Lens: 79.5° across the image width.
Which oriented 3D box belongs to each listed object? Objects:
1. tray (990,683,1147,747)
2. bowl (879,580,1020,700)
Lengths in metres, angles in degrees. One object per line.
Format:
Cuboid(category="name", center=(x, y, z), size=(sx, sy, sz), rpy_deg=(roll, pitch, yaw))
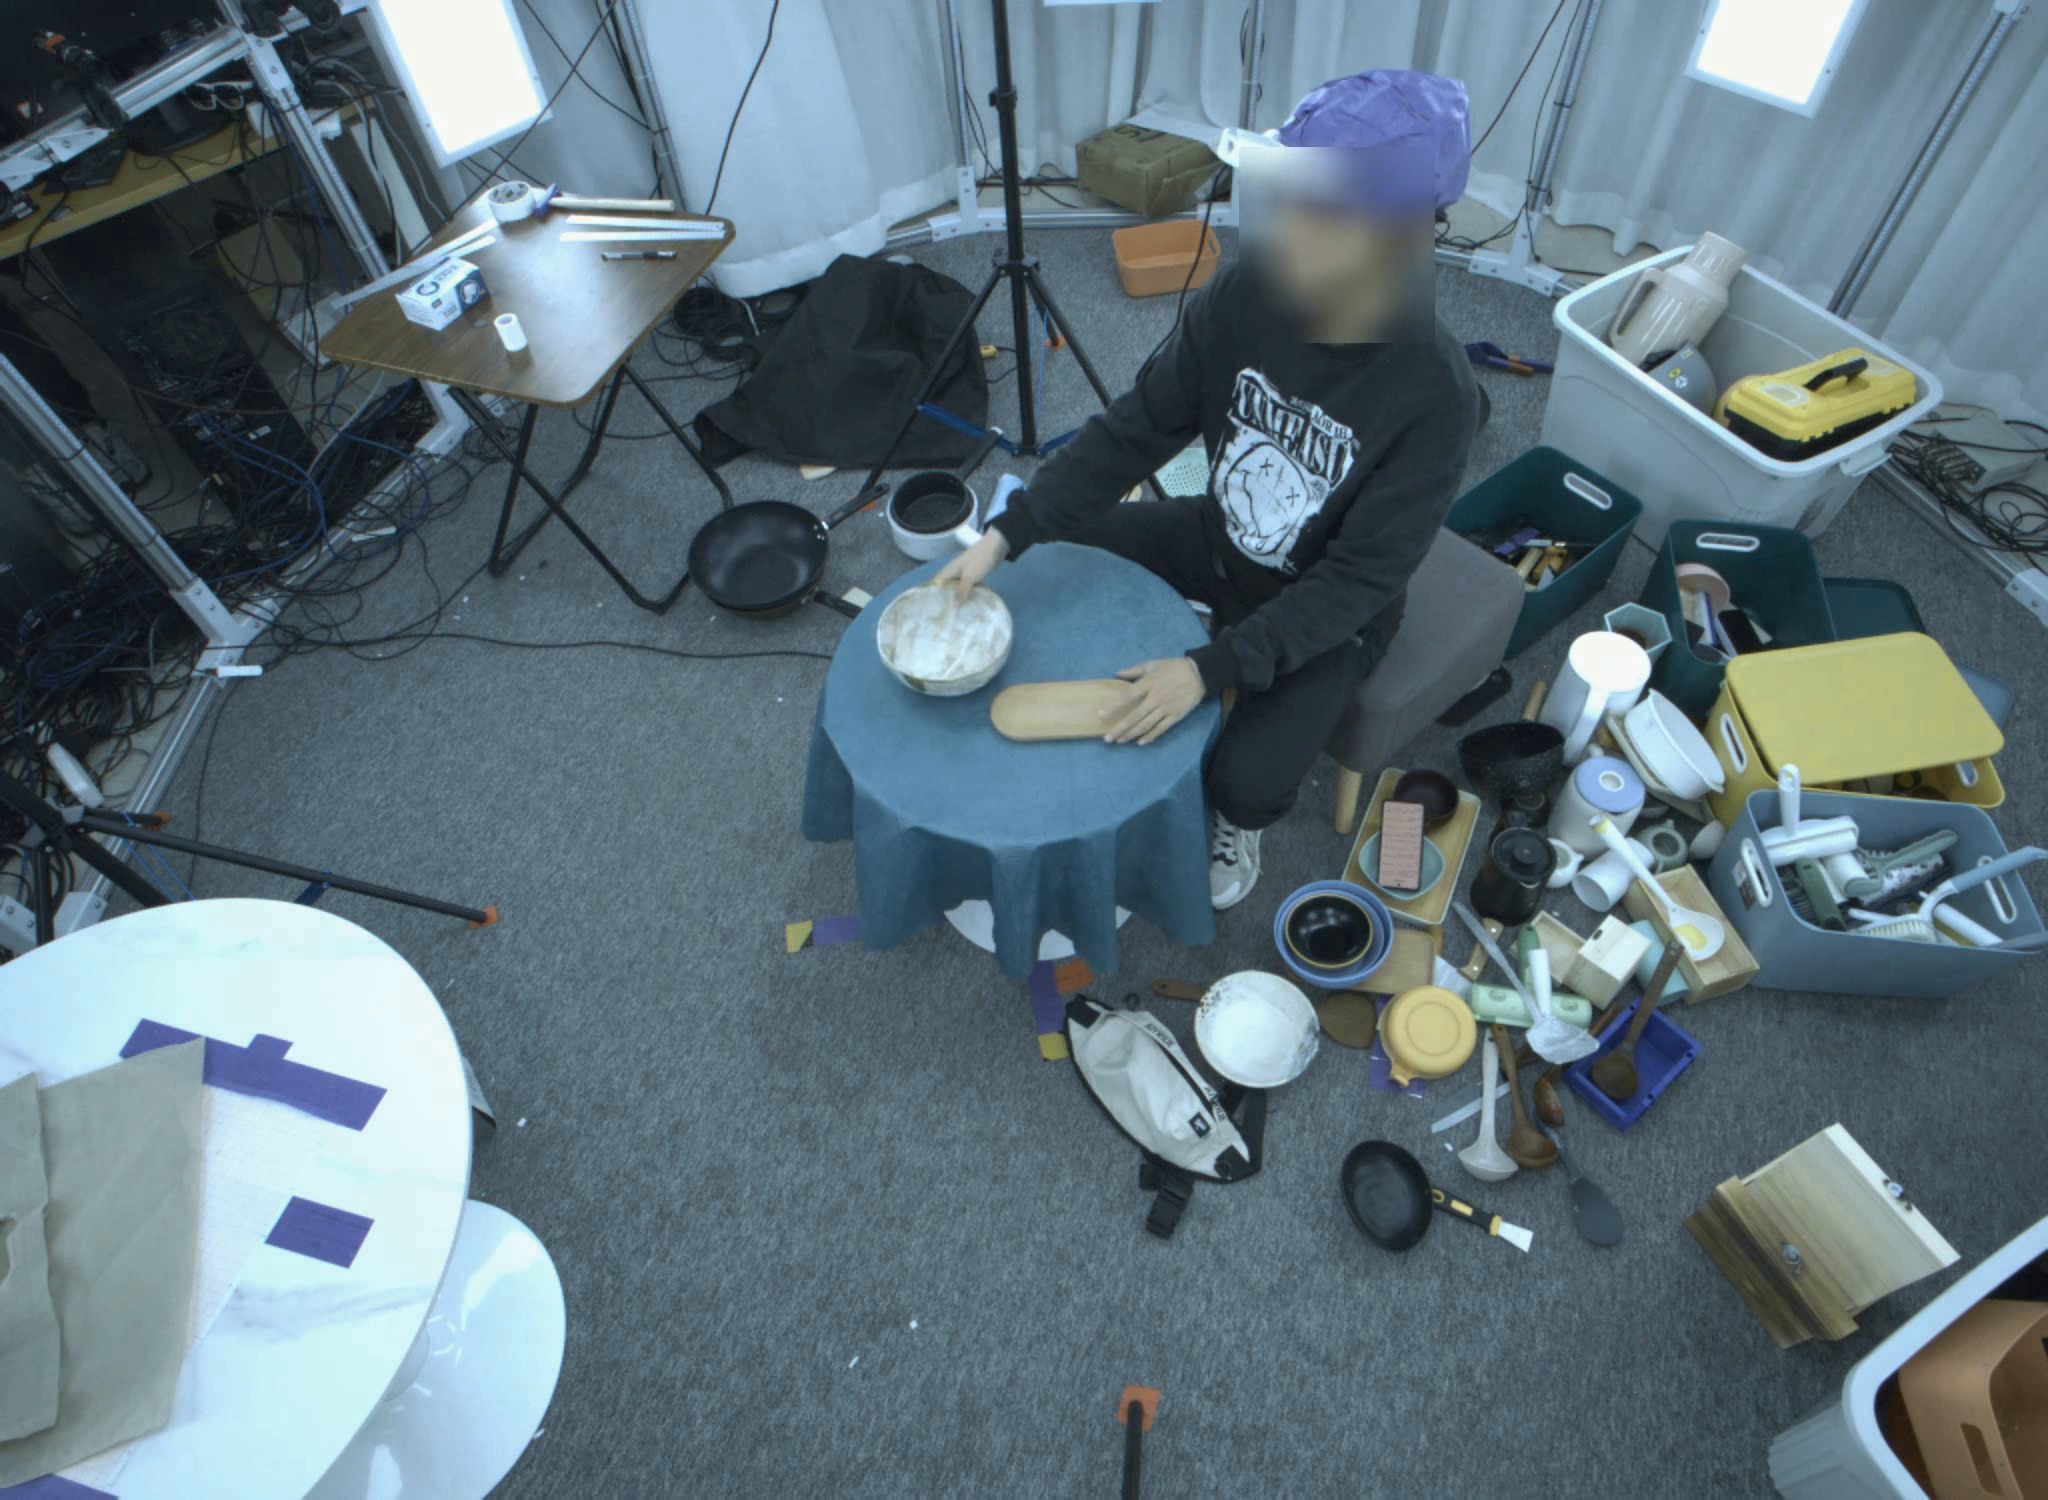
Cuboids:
Cuboid(category="tray", center=(0.066, -0.052, 1.823), size=(0.231, 0.020, 0.100), rpy_deg=(-5, 53, 1))
Cuboid(category="bowl", center=(-0.108, -0.148, 1.847), size=(0.214, 0.095, 0.212), rpy_deg=(-1, 55, 2))
